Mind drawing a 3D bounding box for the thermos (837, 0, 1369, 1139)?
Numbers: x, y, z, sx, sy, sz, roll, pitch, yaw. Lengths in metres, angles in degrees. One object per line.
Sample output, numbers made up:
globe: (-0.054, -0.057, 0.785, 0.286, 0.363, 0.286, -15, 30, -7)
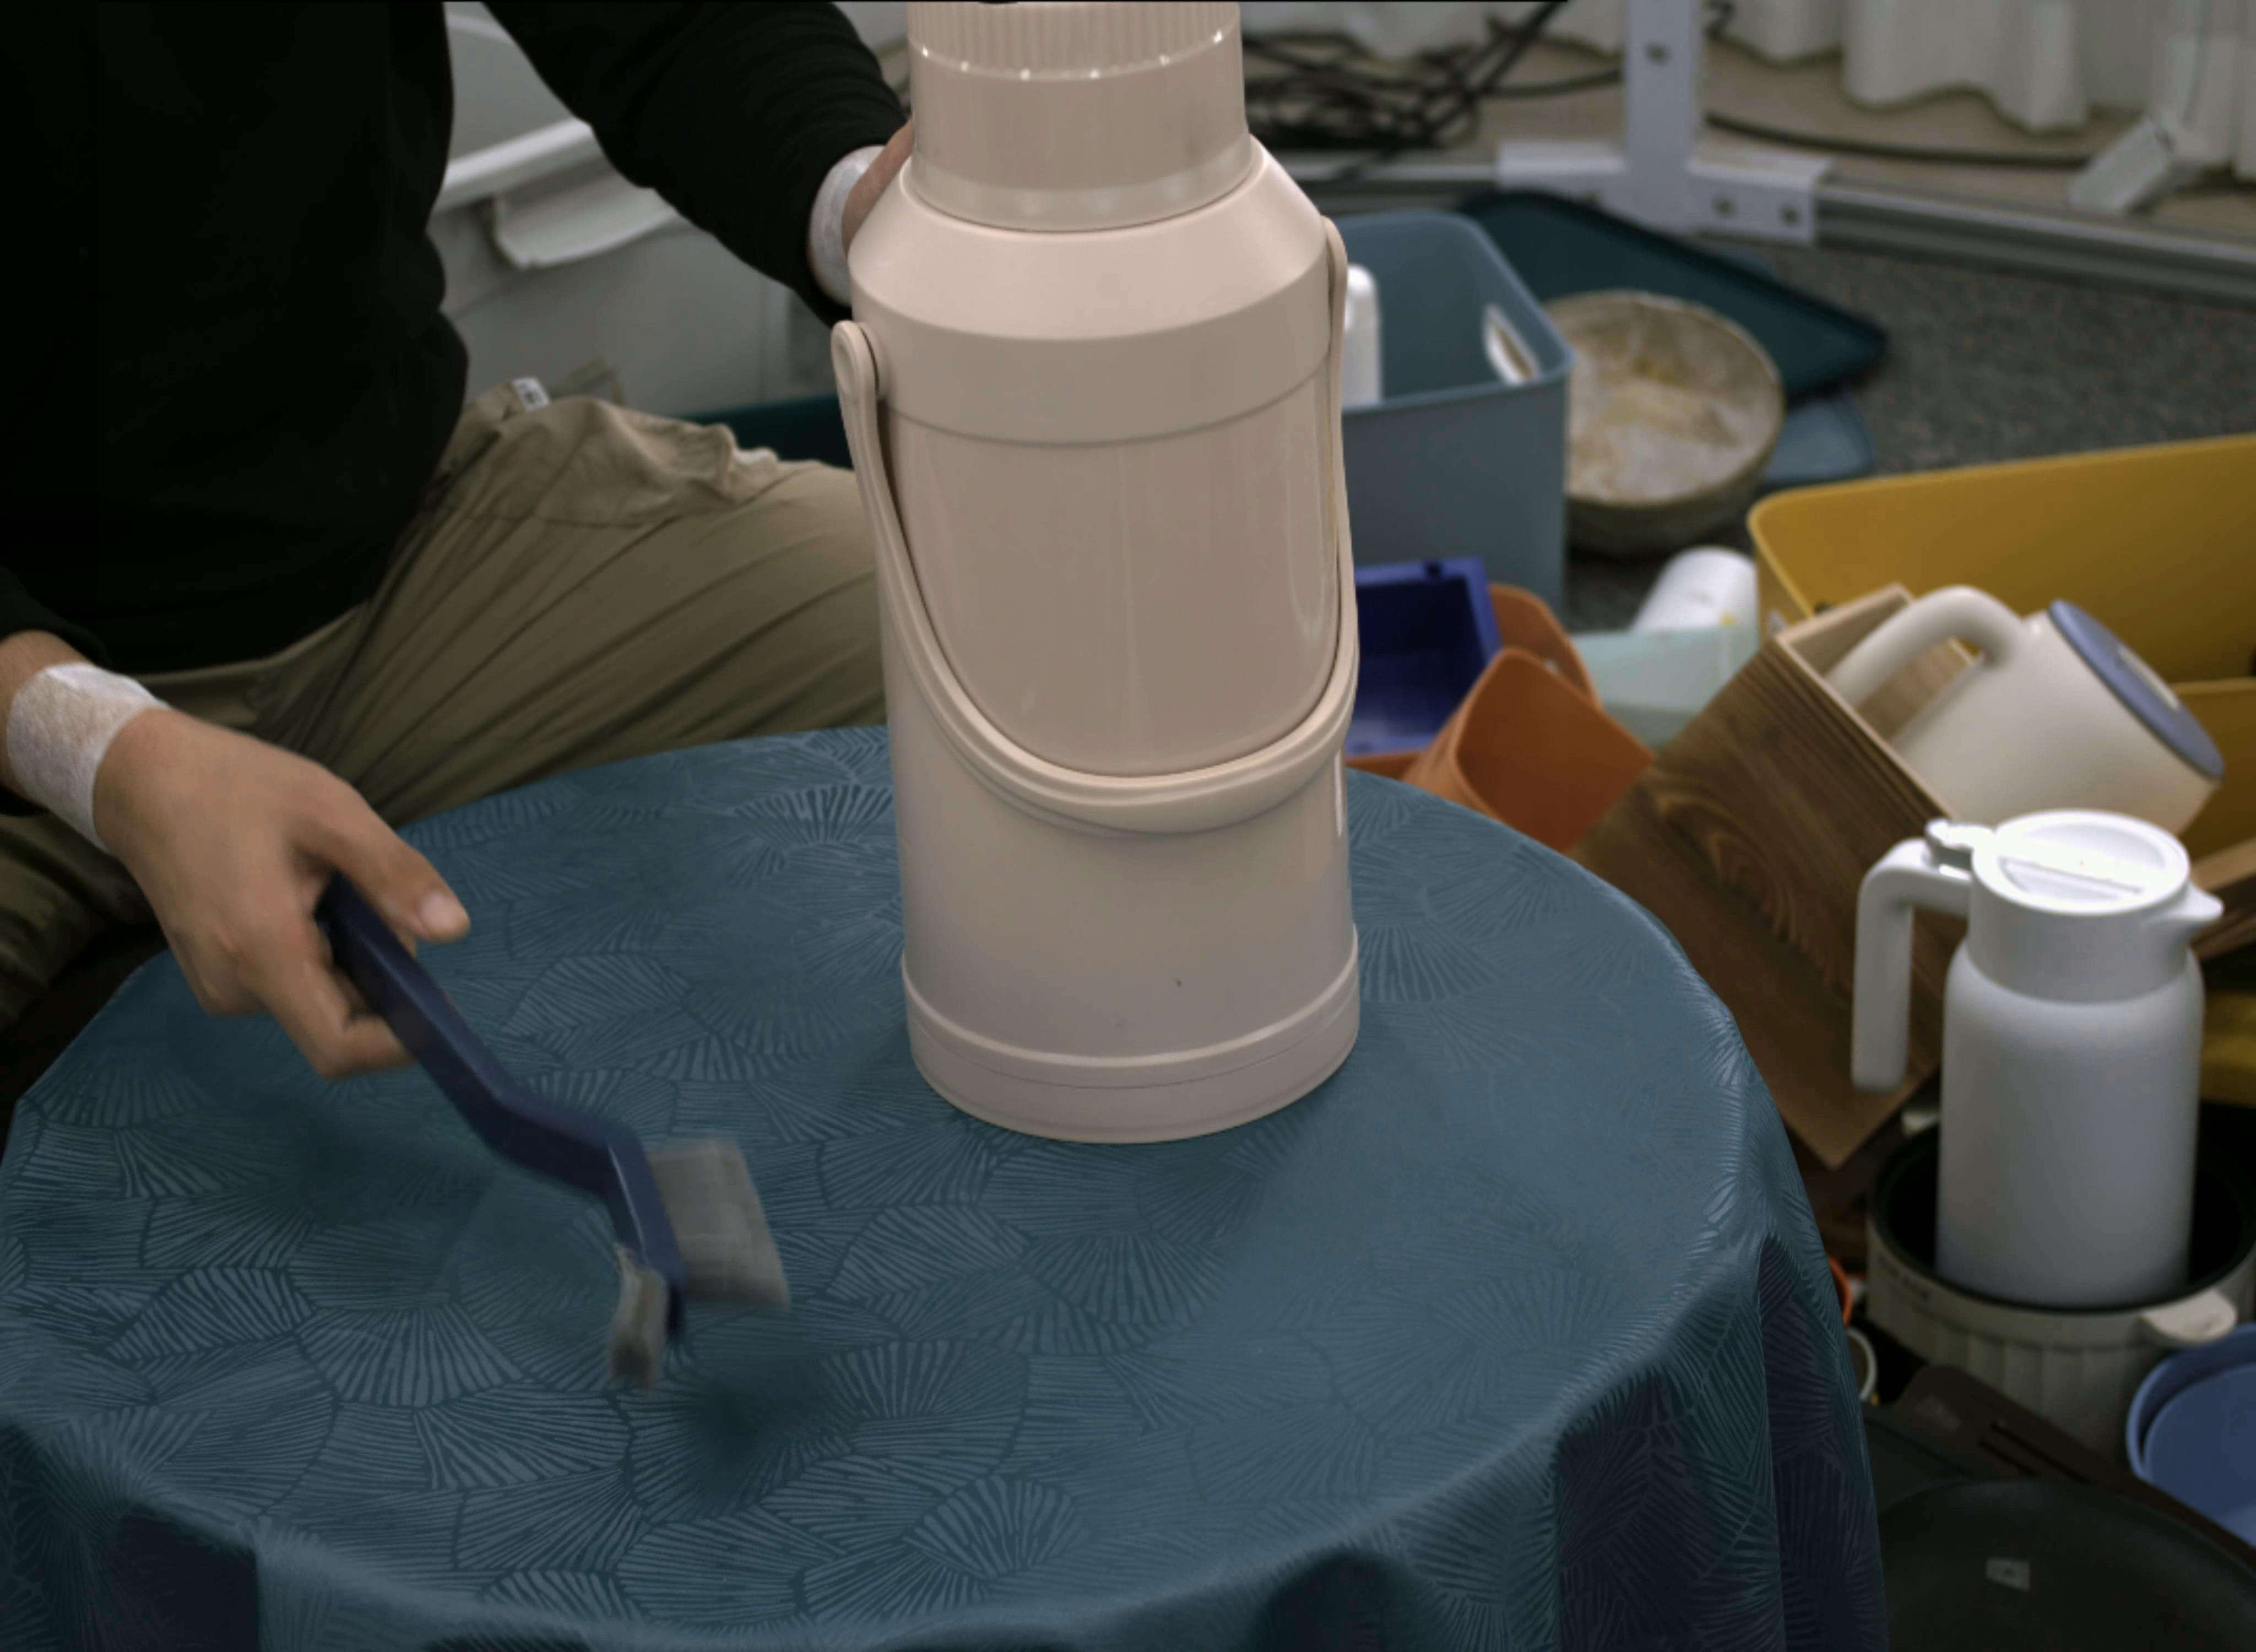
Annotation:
thermos: (-0.011, -0.111, 1.886, 0.176, 0.402, 0.208, -16, 29, -21)

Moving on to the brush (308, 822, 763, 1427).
brush: (-0.209, 0.090, 1.786, 0.096, 0.033, 0.274, -22, 44, -35)
